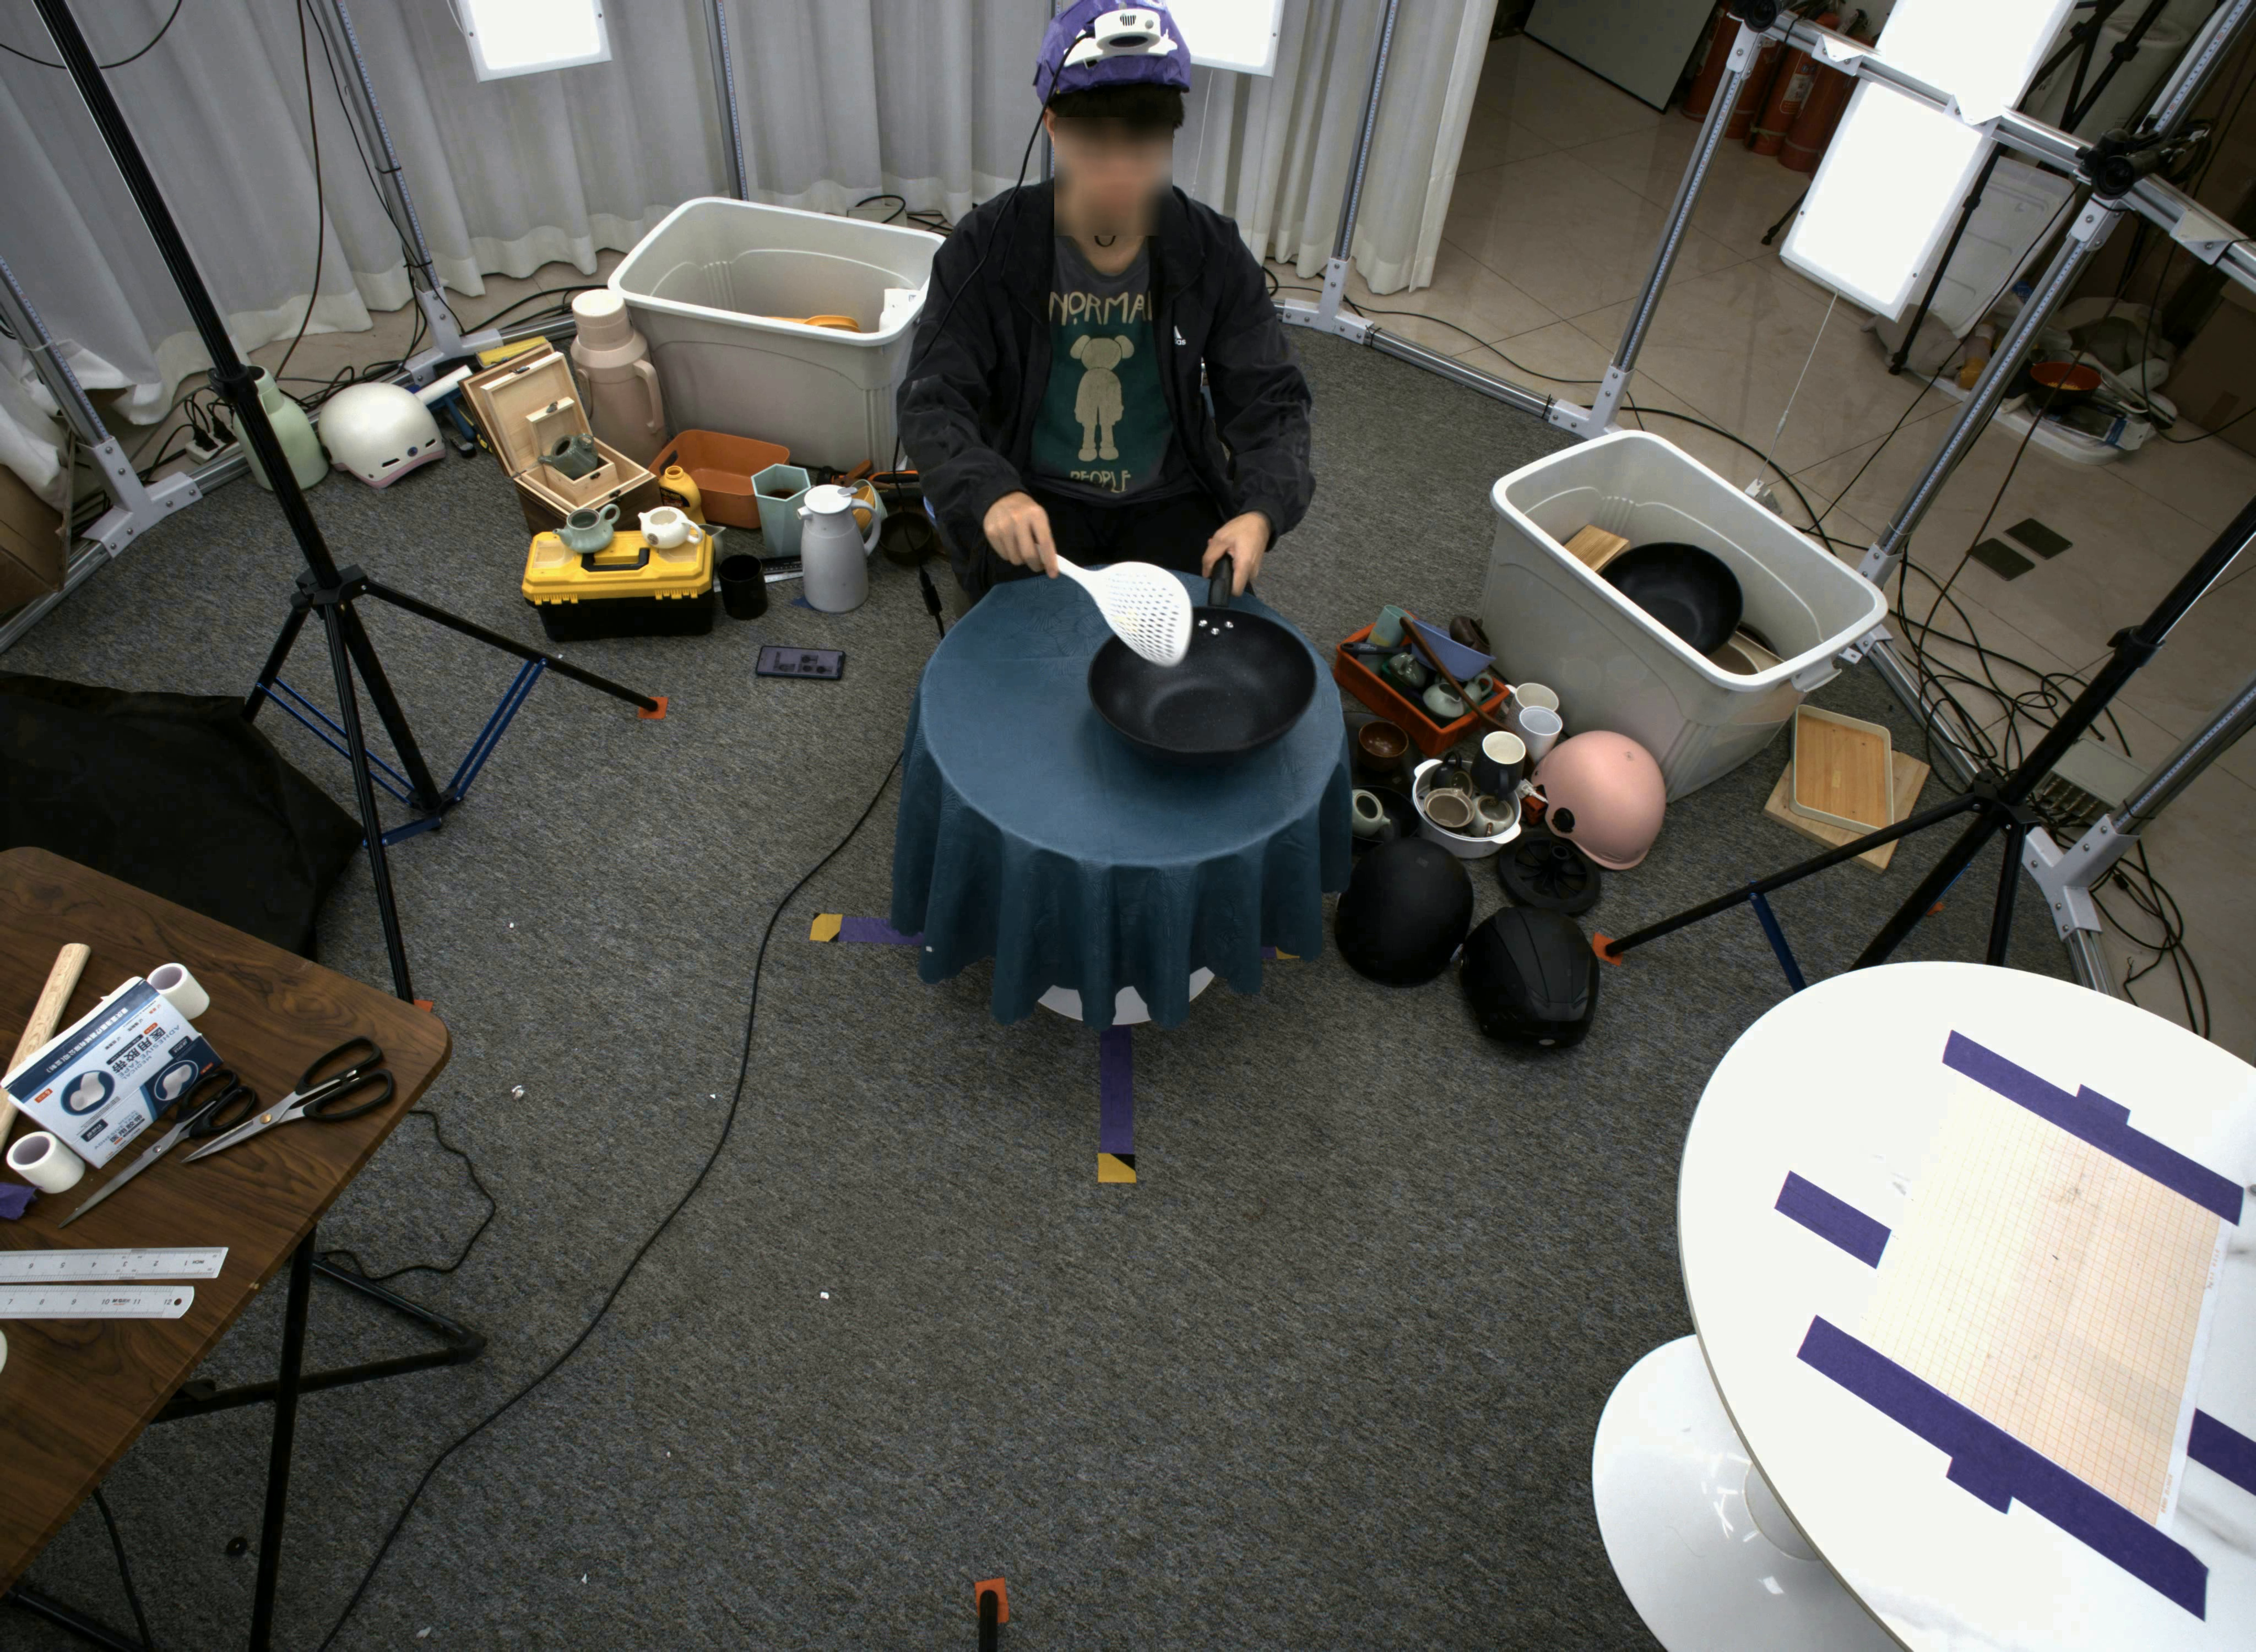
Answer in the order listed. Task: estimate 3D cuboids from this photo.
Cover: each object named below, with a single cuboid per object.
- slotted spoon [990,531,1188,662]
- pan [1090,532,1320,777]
[{"bbox_3d":[-0.058,-0.325,1.718,0.050,0.134,0.354,-25,45,-35],"label":"slotted spoon"},{"bbox_3d":[0.117,-0.235,1.806,0.310,0.109,0.488,6,46,8],"label":"pan"}]
